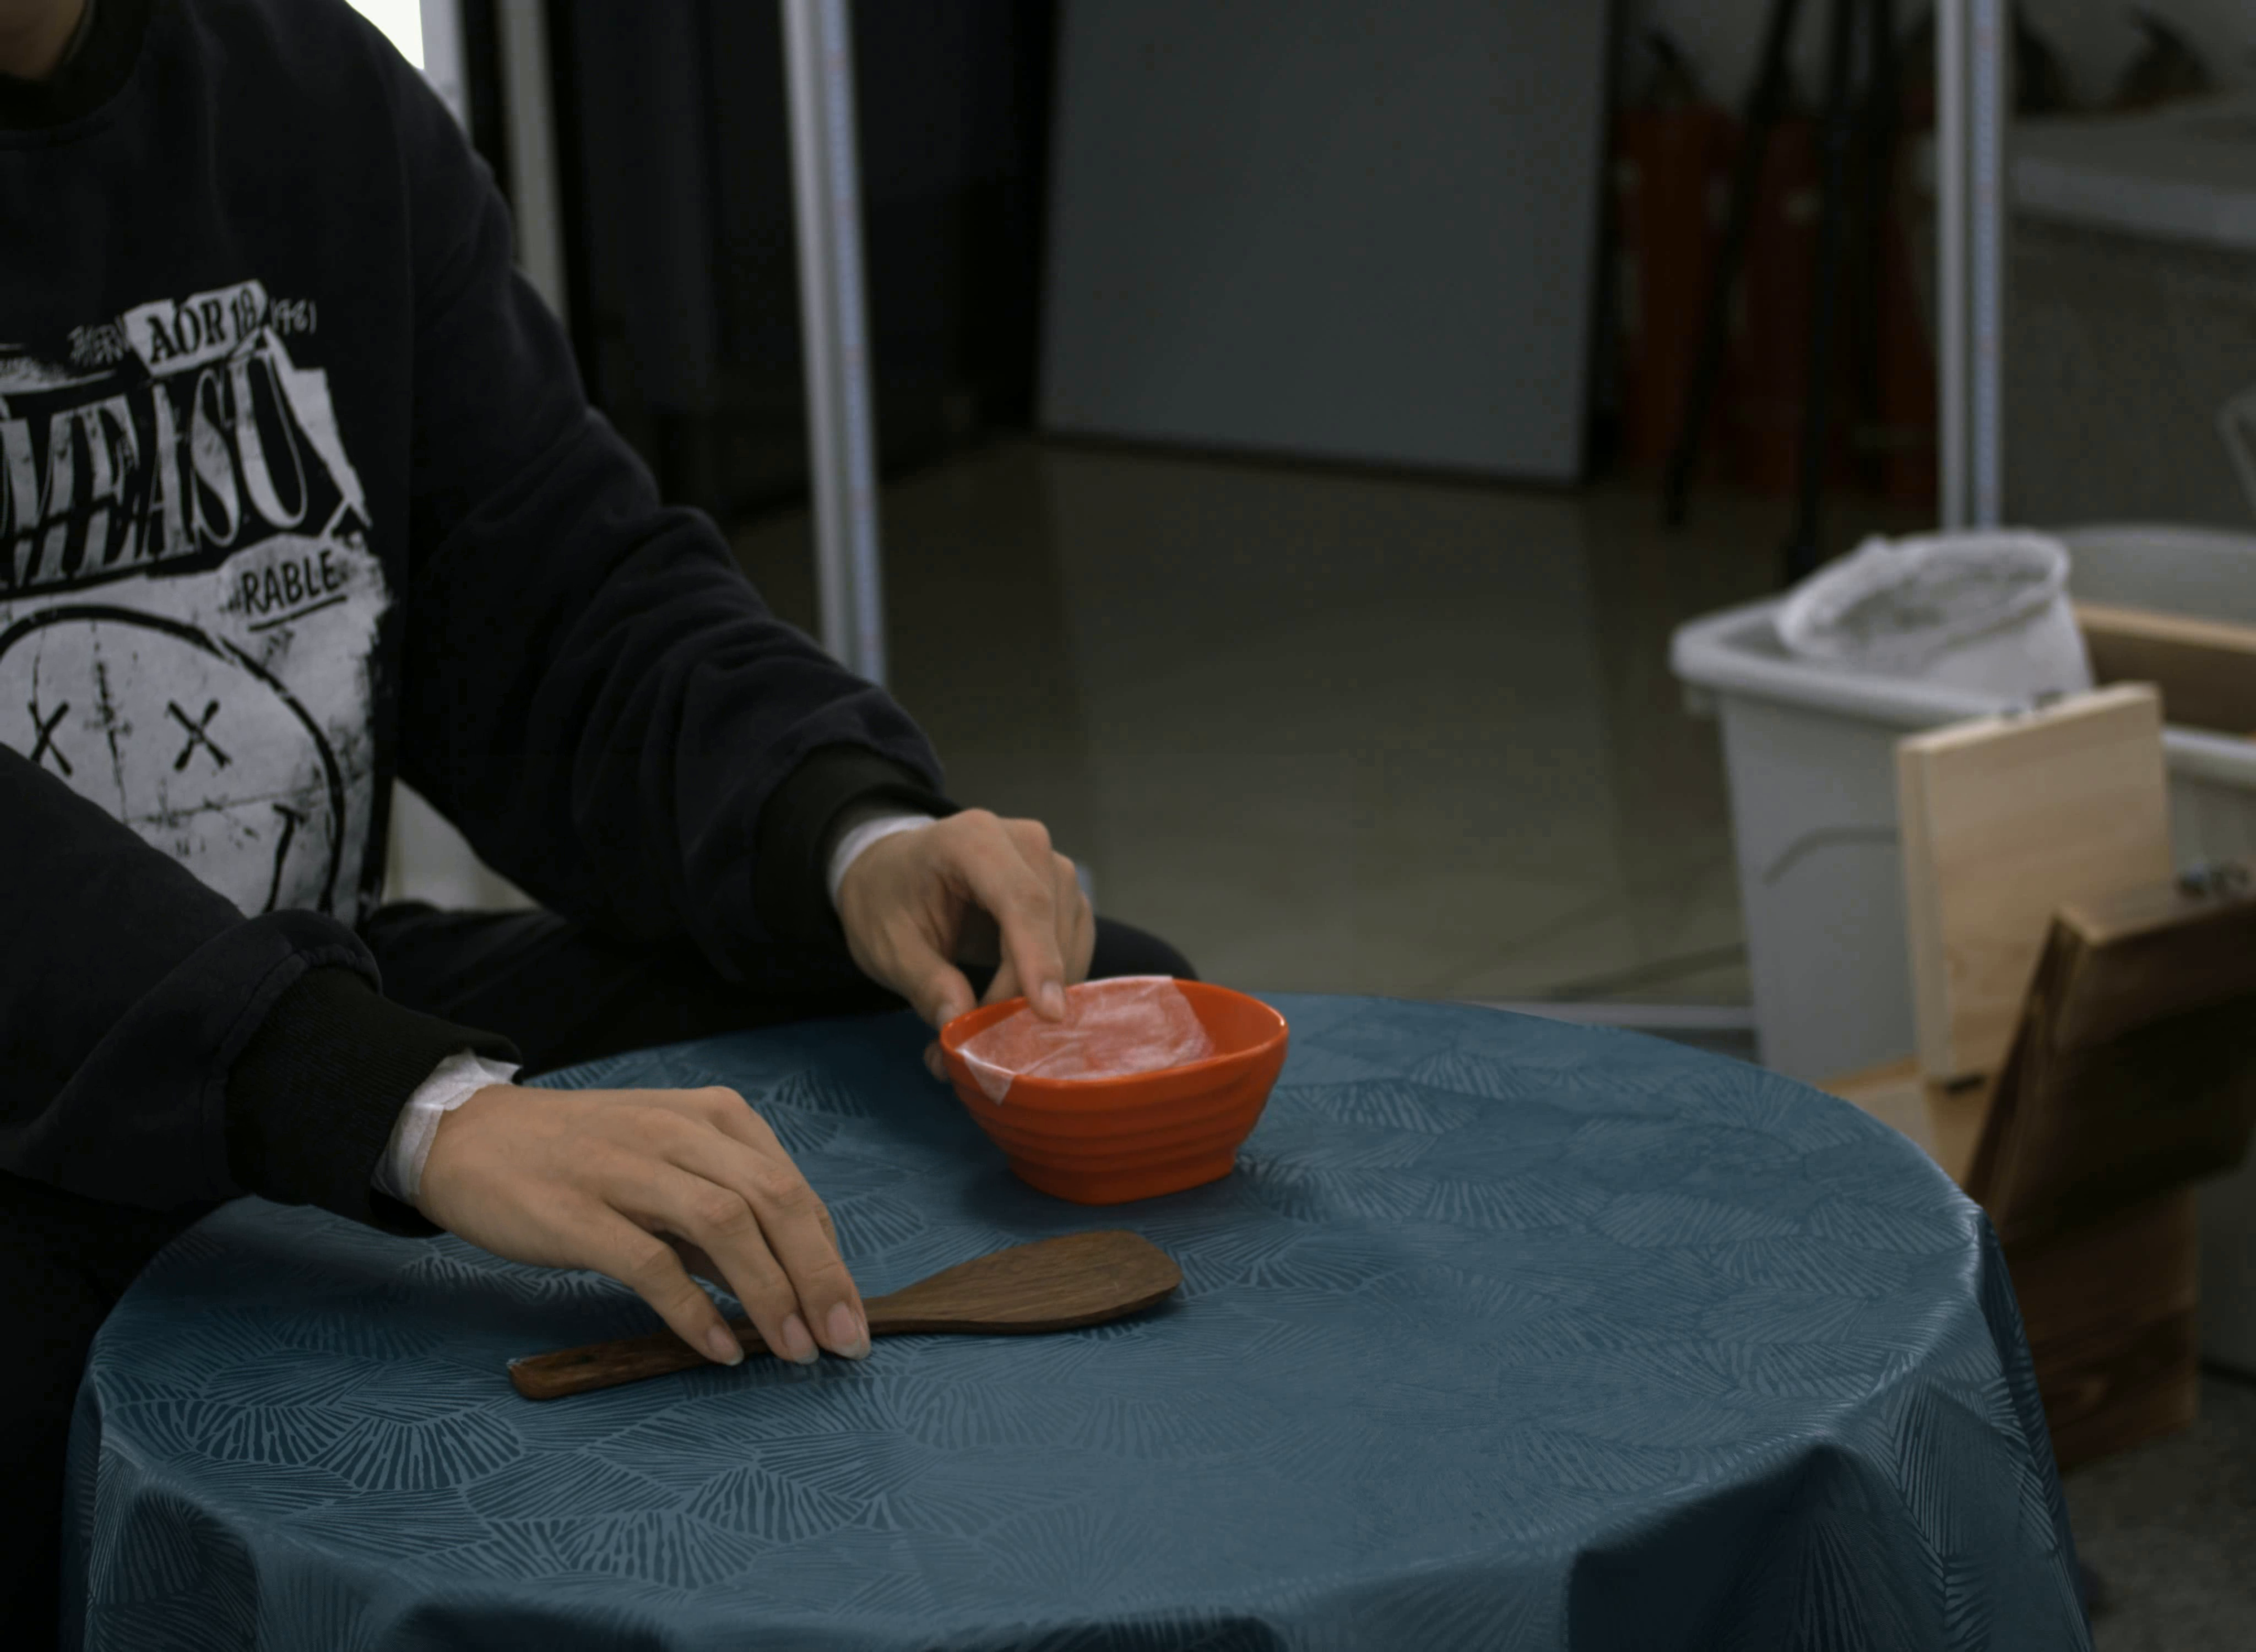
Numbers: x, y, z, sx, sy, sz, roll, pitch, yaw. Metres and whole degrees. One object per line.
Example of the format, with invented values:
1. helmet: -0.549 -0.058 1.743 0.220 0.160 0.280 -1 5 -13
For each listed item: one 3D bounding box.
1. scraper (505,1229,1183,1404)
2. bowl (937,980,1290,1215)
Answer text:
1. scraper: -0.087 0.153 1.652 0.207 0.011 0.076 -9 14 -17
2. bowl: -0.003 0.092 1.788 0.117 0.052 0.119 -4 15 0
